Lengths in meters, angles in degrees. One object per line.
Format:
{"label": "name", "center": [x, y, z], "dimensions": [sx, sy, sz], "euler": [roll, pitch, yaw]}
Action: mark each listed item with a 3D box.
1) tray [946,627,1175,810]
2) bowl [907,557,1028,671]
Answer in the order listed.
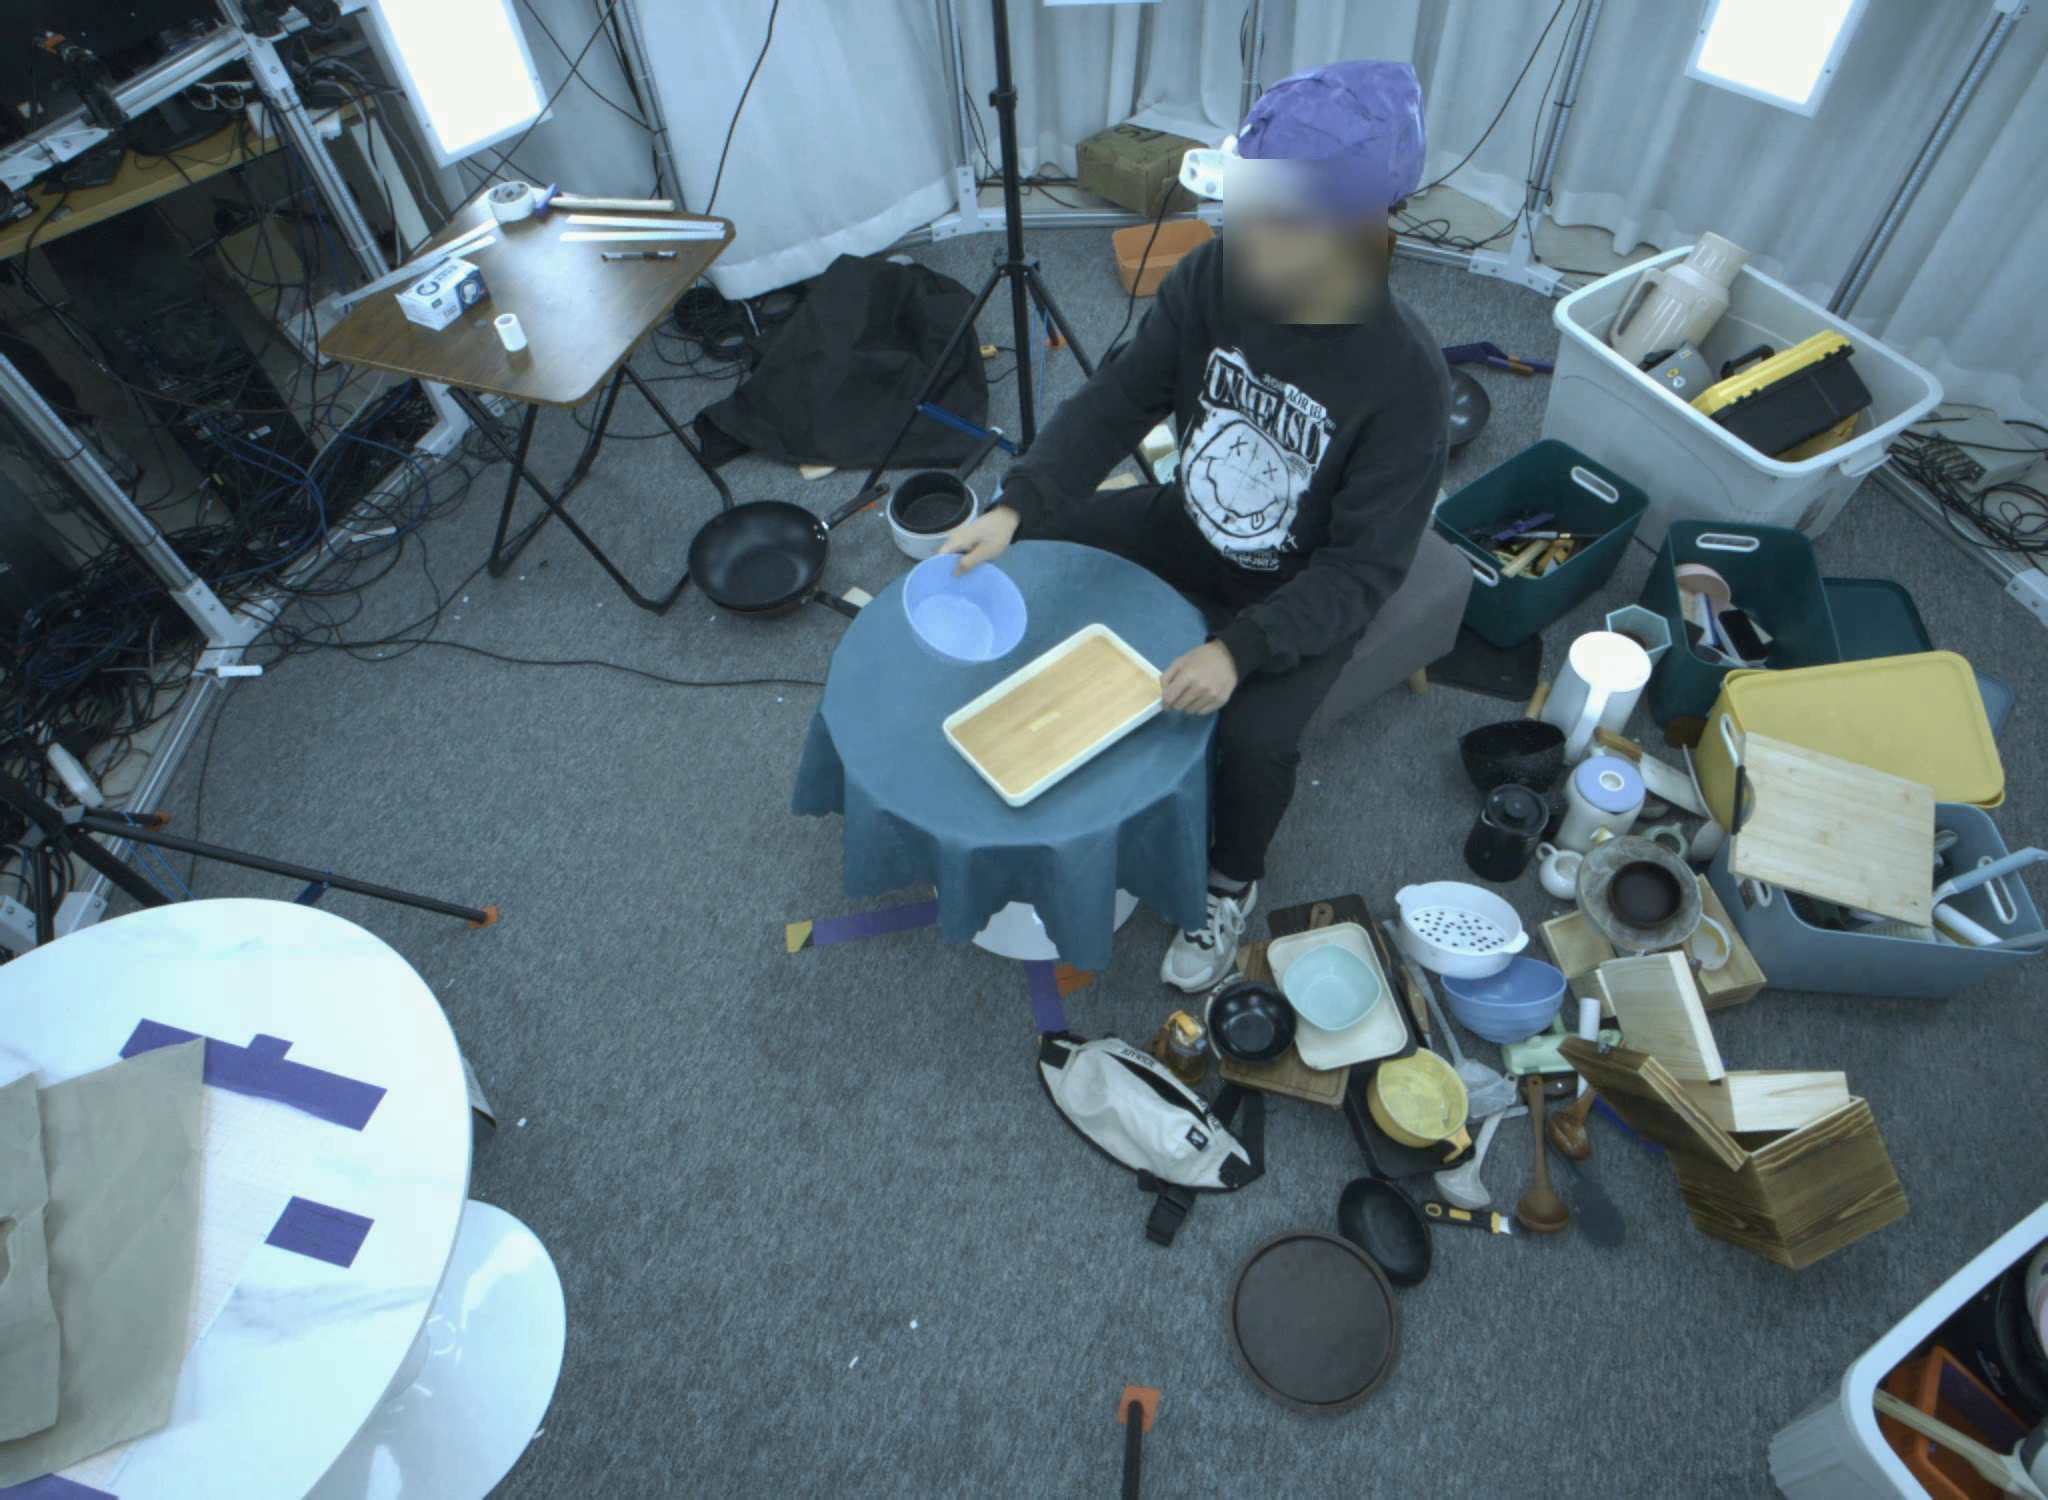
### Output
{"label": "tray", "center": [0.054, -0.051, 1.797], "dimensions": [0.302, 0.028, 0.187], "euler": [-35, 55, -16]}
{"label": "bowl", "center": [-0.087, -0.177, 1.701], "dimensions": [0.179, 0.070, 0.174], "euler": [11, 61, -20]}
